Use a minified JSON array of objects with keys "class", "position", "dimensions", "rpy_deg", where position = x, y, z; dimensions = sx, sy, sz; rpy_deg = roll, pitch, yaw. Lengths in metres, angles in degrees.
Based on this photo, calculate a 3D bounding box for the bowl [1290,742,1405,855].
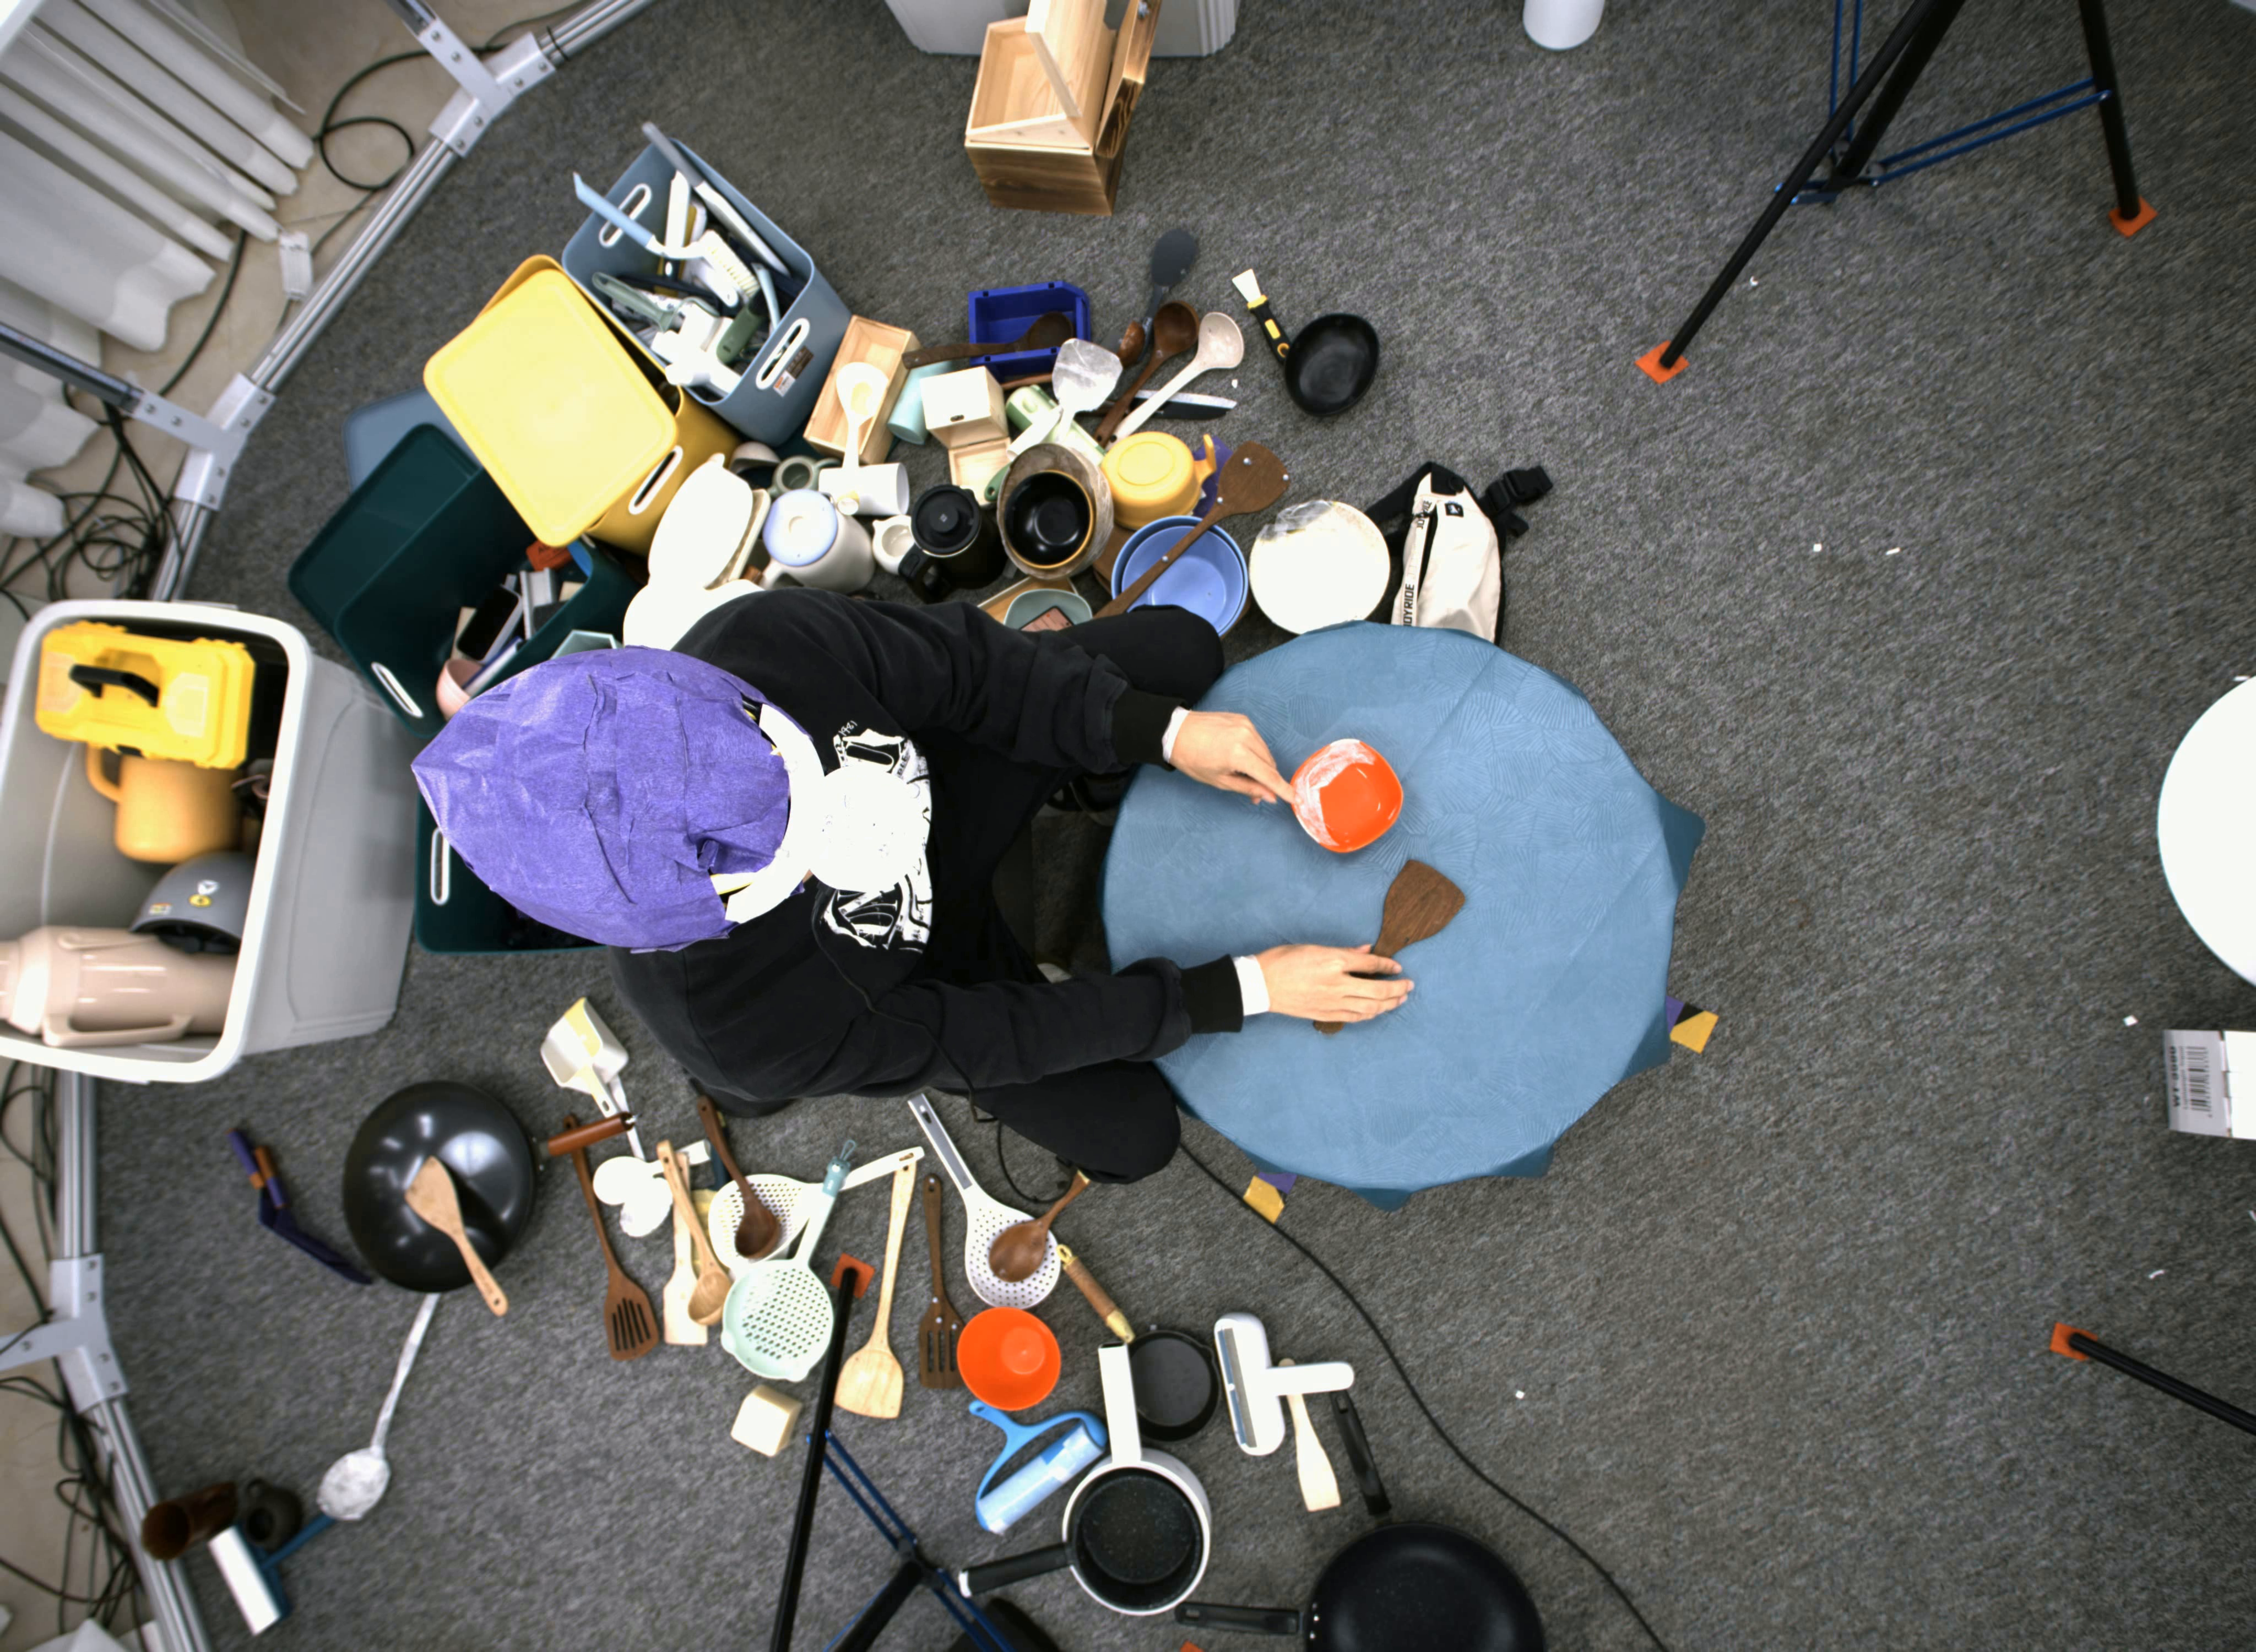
[{"class":"bowl","position":[0.231,-0.027,1.453],"dimensions":[0.119,0.051,0.118],"rpy_deg":[-1,86,8]}]

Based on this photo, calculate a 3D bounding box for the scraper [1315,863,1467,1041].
[{"class":"scraper","position":[0.268,0.137,1.457],"dimensions":[0.075,0.011,0.212],"rpy_deg":[38,94,12]}]
